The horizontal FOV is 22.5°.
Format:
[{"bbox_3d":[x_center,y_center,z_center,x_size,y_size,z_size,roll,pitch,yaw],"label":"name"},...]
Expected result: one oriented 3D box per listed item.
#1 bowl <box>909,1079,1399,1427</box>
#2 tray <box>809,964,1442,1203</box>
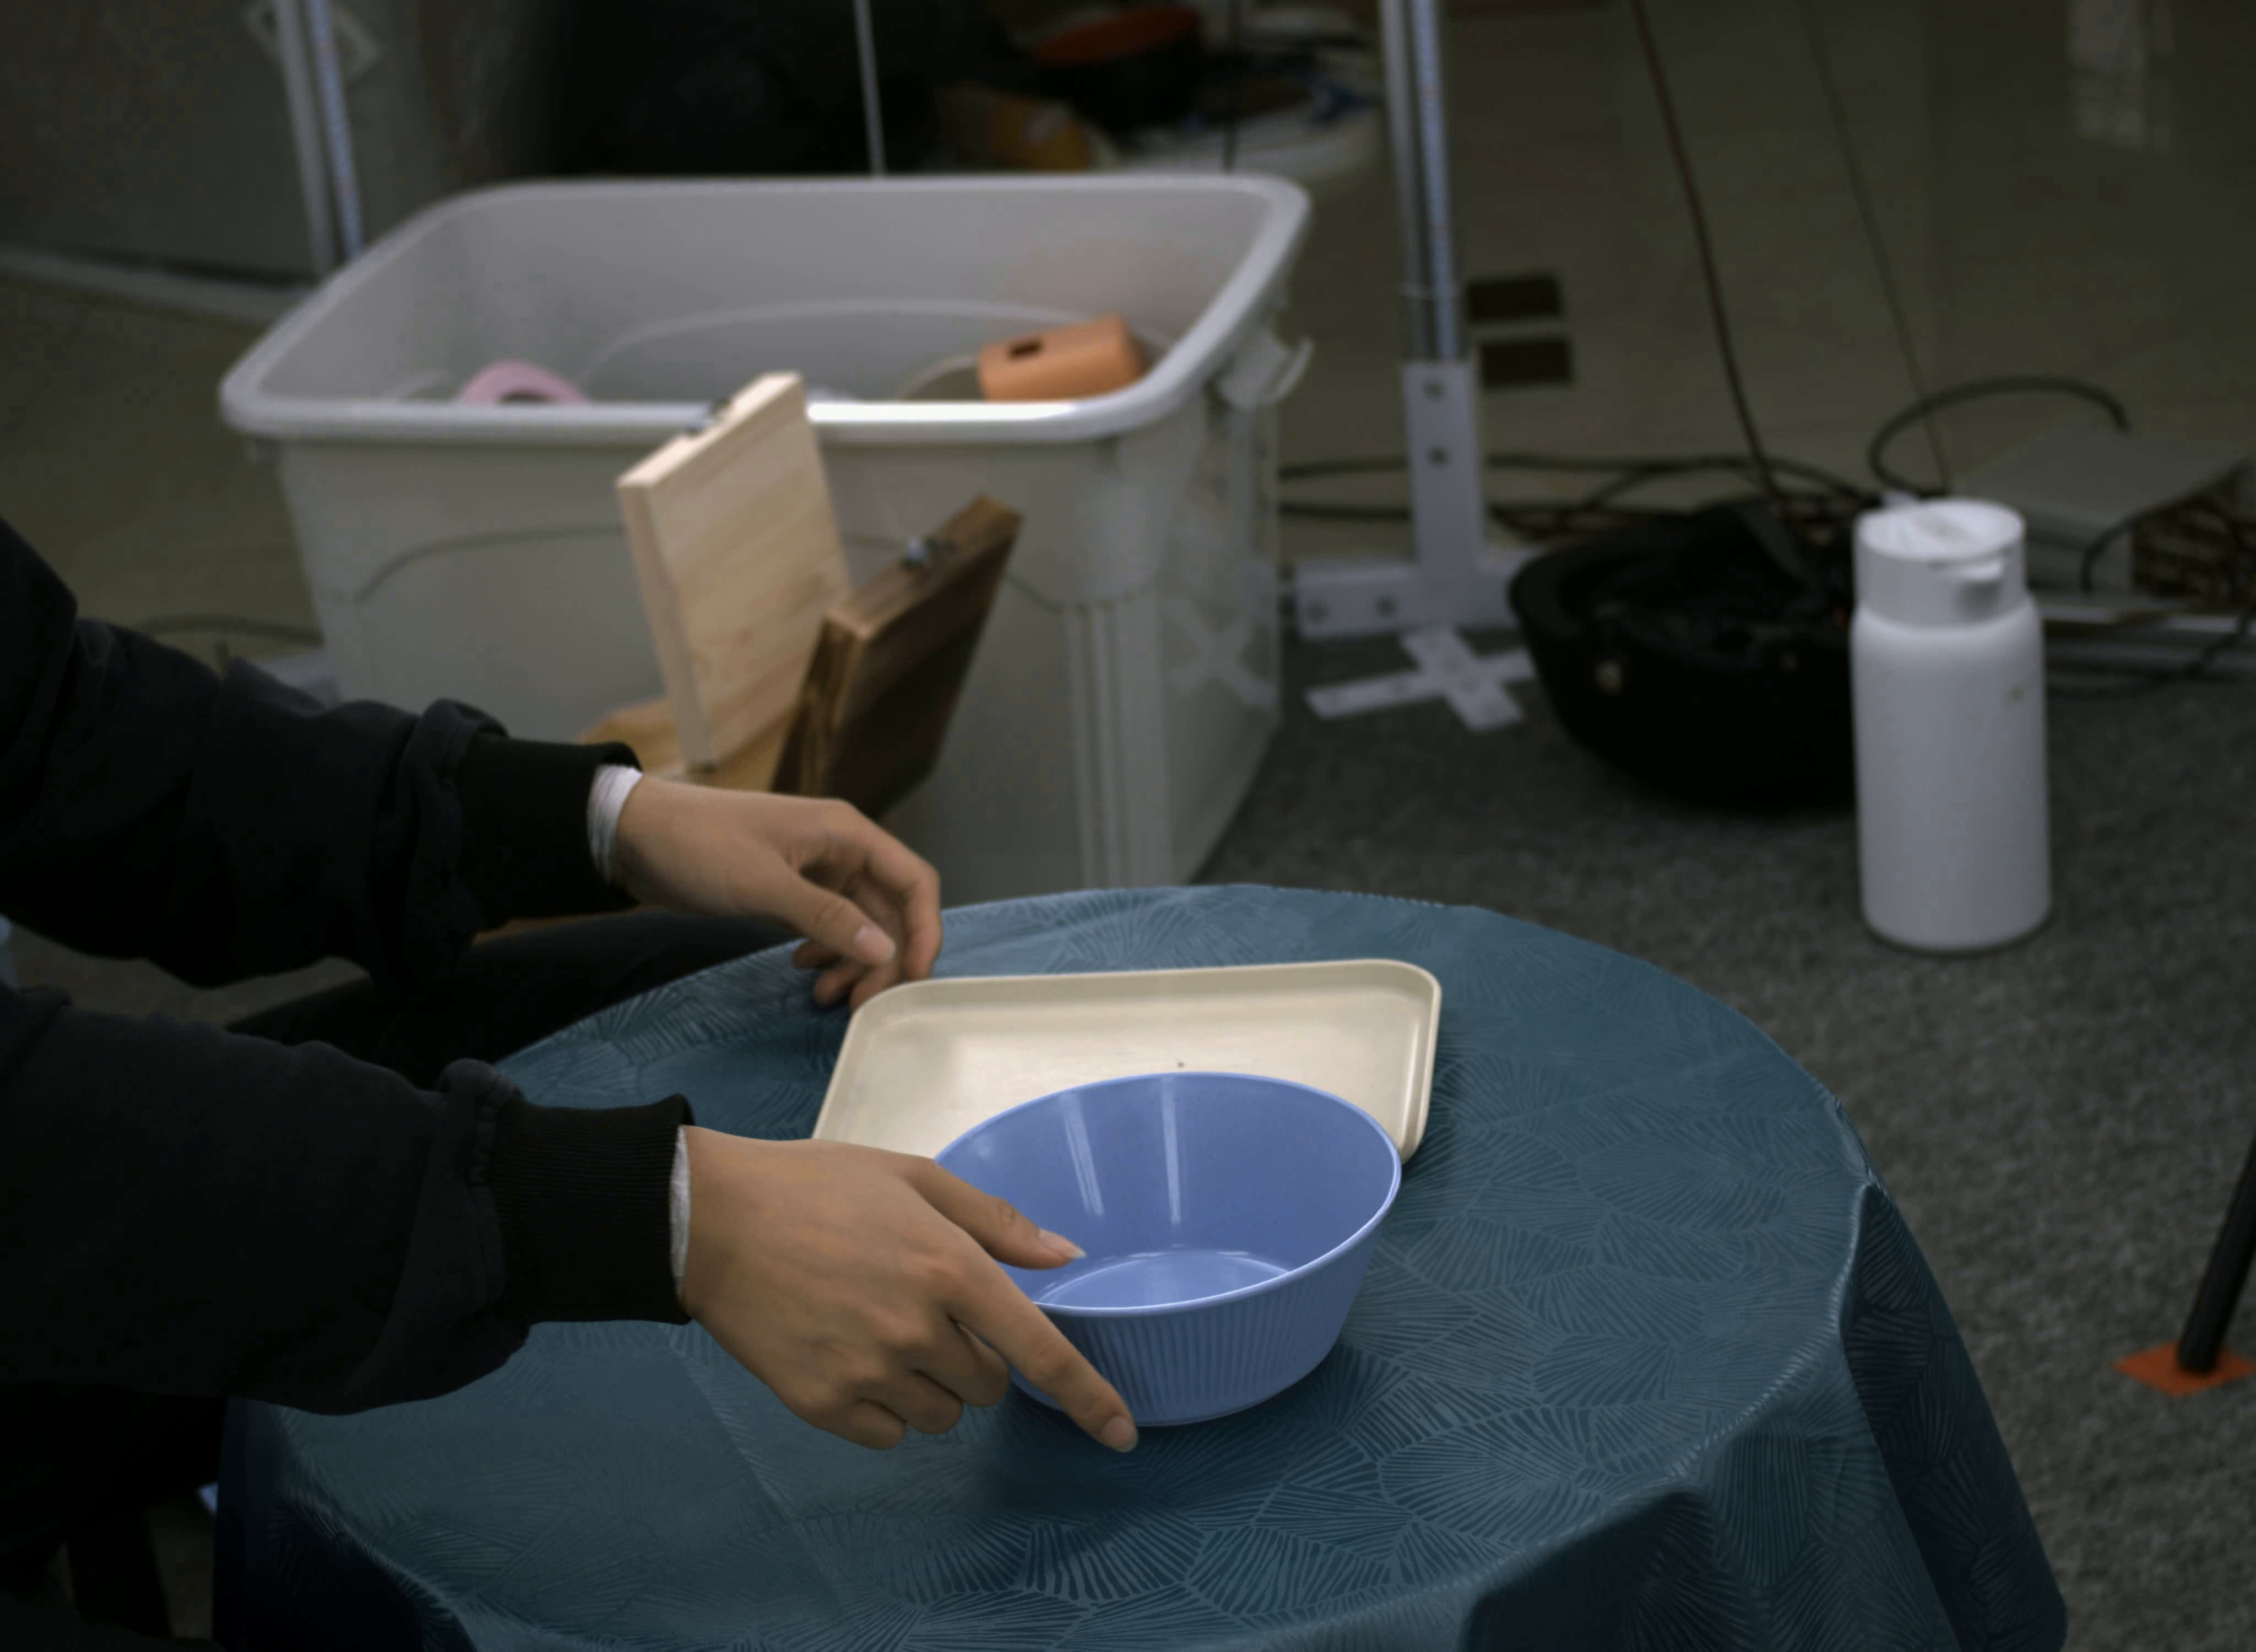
[{"bbox_3d":[0.012,0.158,2.024,0.176,0.071,0.173,-5,24,3],"label":"bowl"},{"bbox_3d":[0.002,0.102,2.212,0.239,0.018,0.169,-3,24,8],"label":"tray"}]
